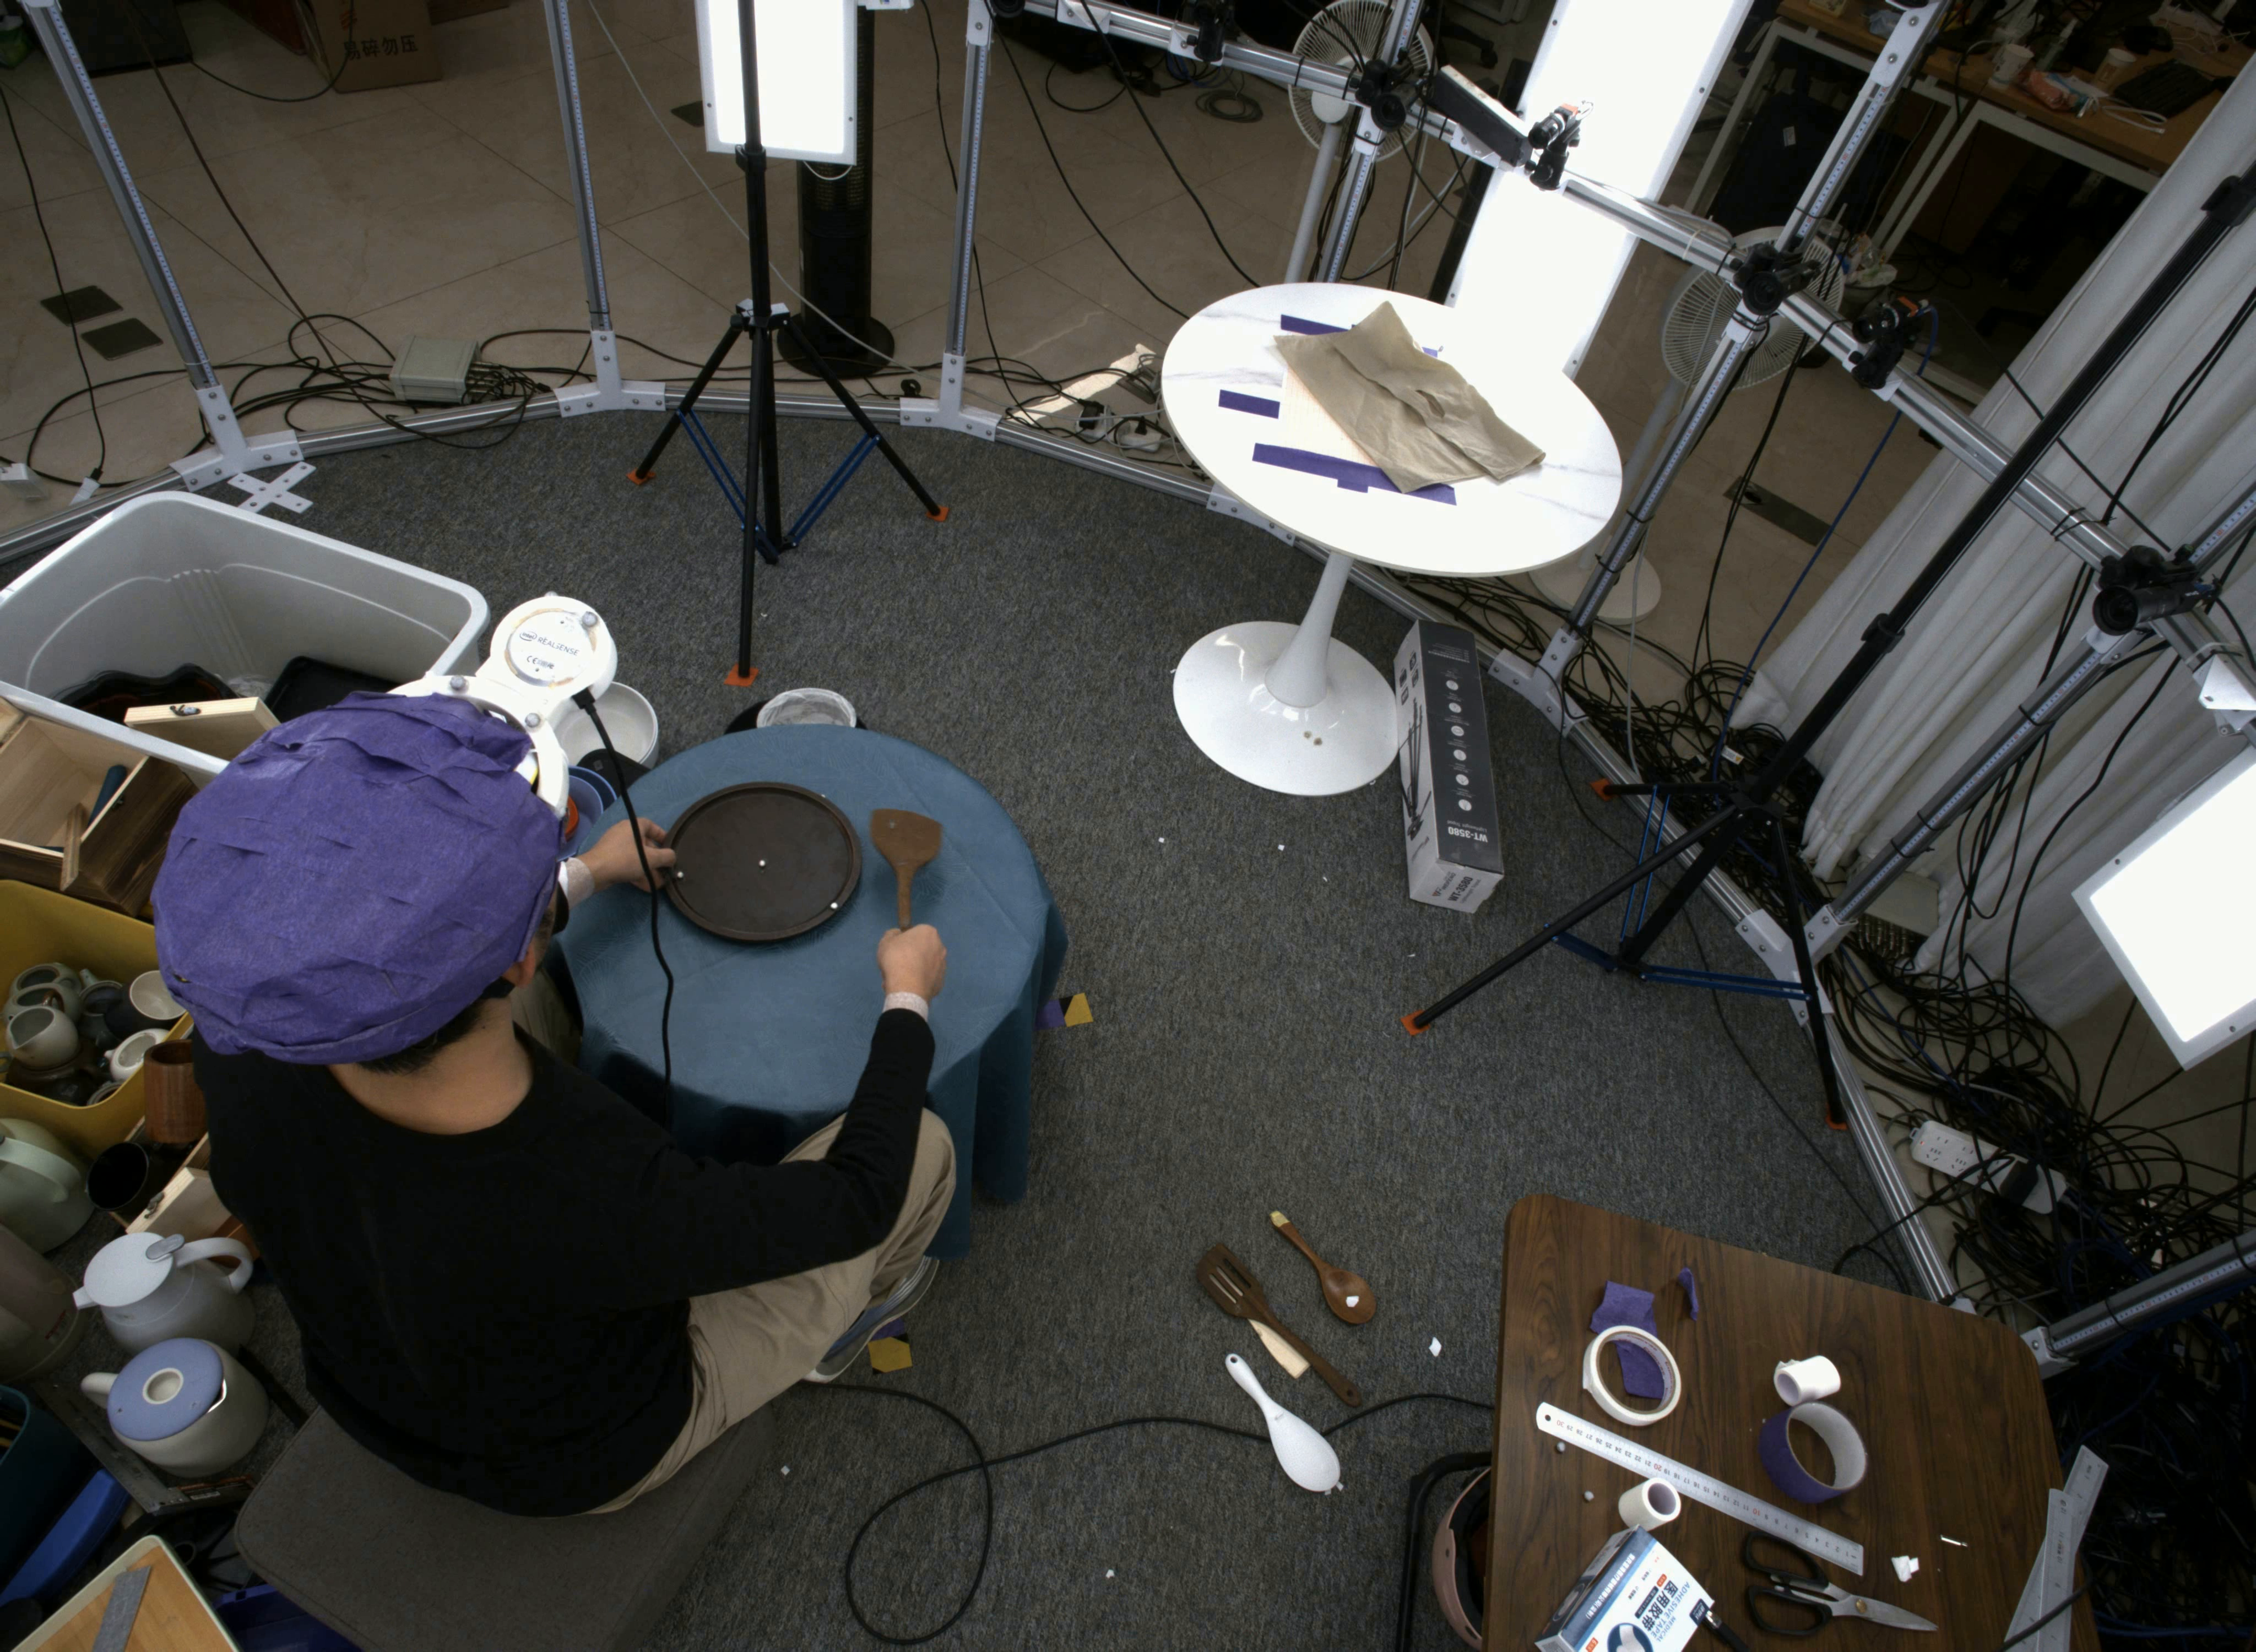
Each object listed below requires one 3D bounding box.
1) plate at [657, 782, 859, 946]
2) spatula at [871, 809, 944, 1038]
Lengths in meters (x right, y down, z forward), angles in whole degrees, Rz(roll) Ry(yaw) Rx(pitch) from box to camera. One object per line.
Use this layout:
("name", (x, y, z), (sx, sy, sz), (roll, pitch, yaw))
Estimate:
("plate", (-0.473, 0.045, 1.656), (0.254, 0.029, 0.250), (9, 53, -10))
("spatula", (-0.270, 0.104, 1.559), (0.097, 0.016, 0.376), (15, 36, -19))
